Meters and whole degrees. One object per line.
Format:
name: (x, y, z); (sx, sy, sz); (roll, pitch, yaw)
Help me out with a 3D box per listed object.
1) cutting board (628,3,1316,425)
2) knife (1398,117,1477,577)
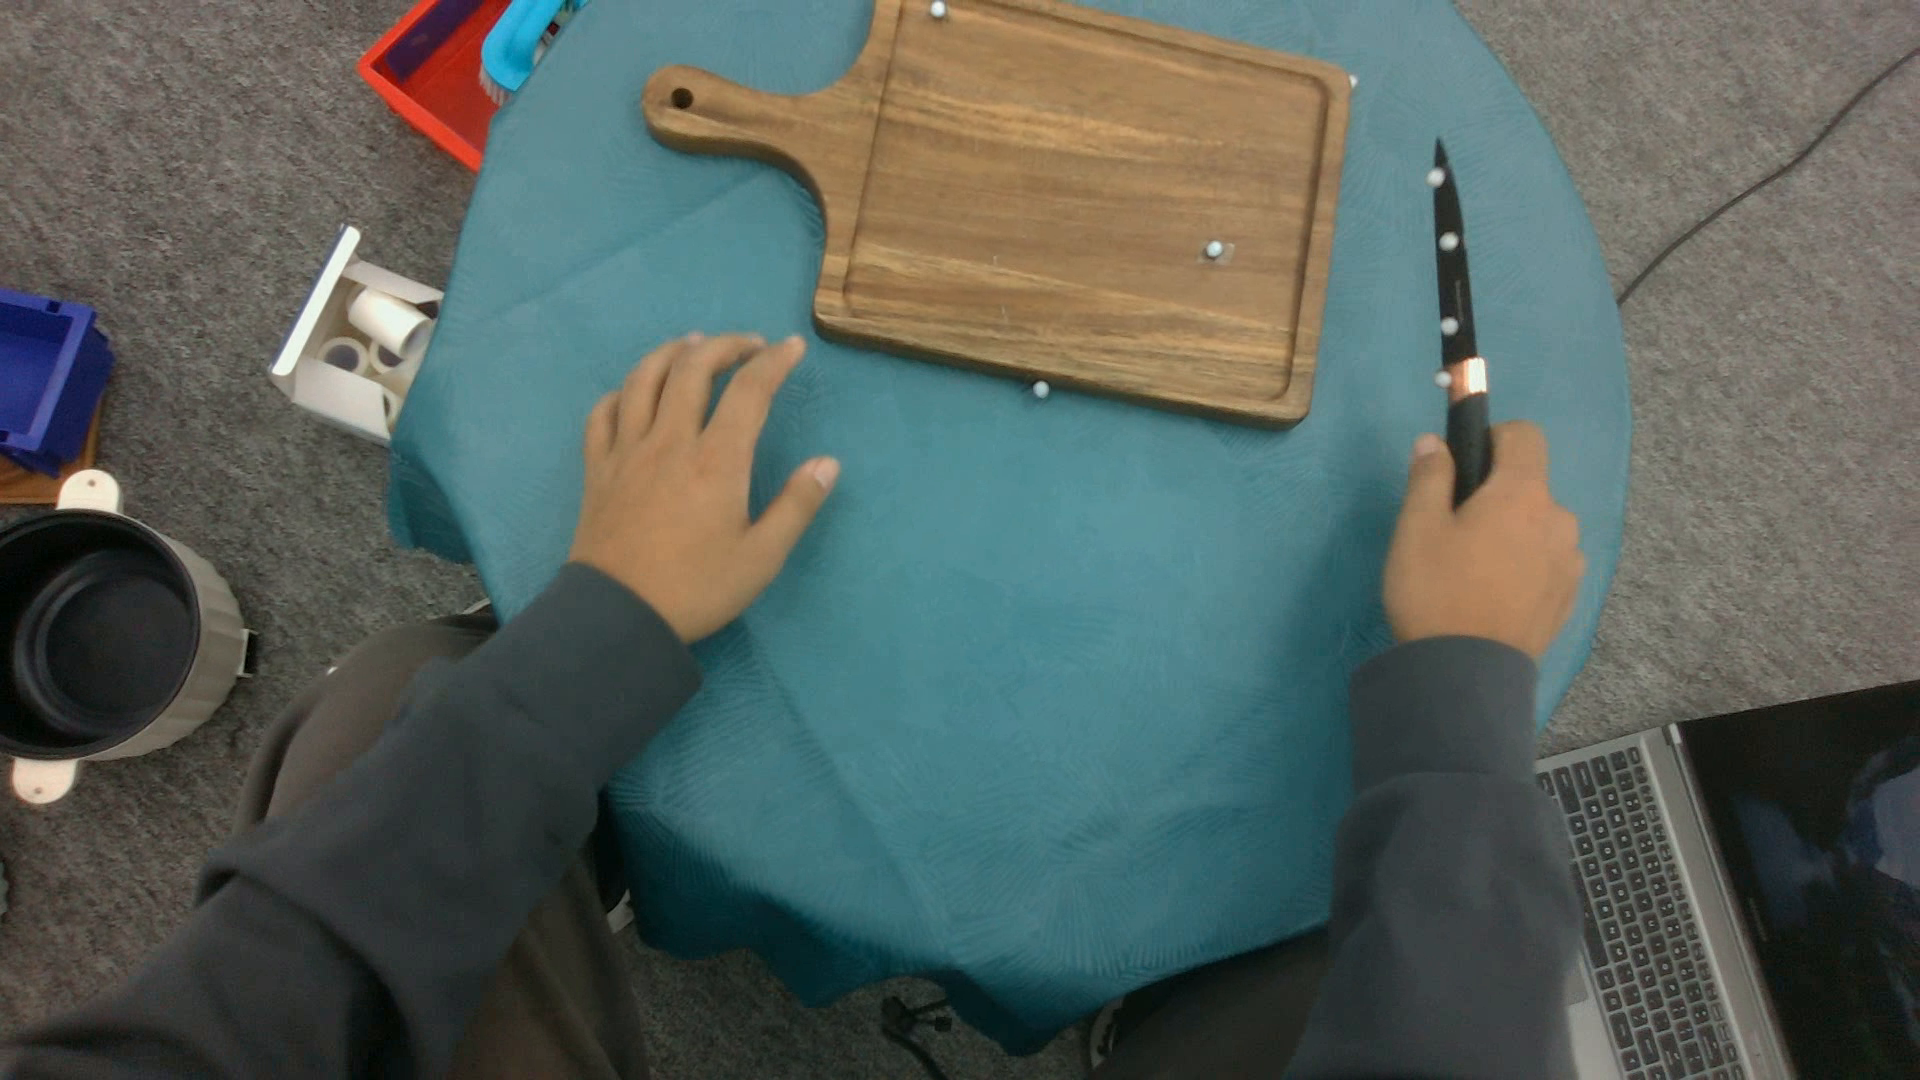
cutting board: (0.008, -0.175, 0.705); (0.352, 0.023, 0.201); (7, 77, -5)
knife: (0.228, -0.094, 0.659); (0.017, 0.026, 0.225); (-3, 86, -26)
